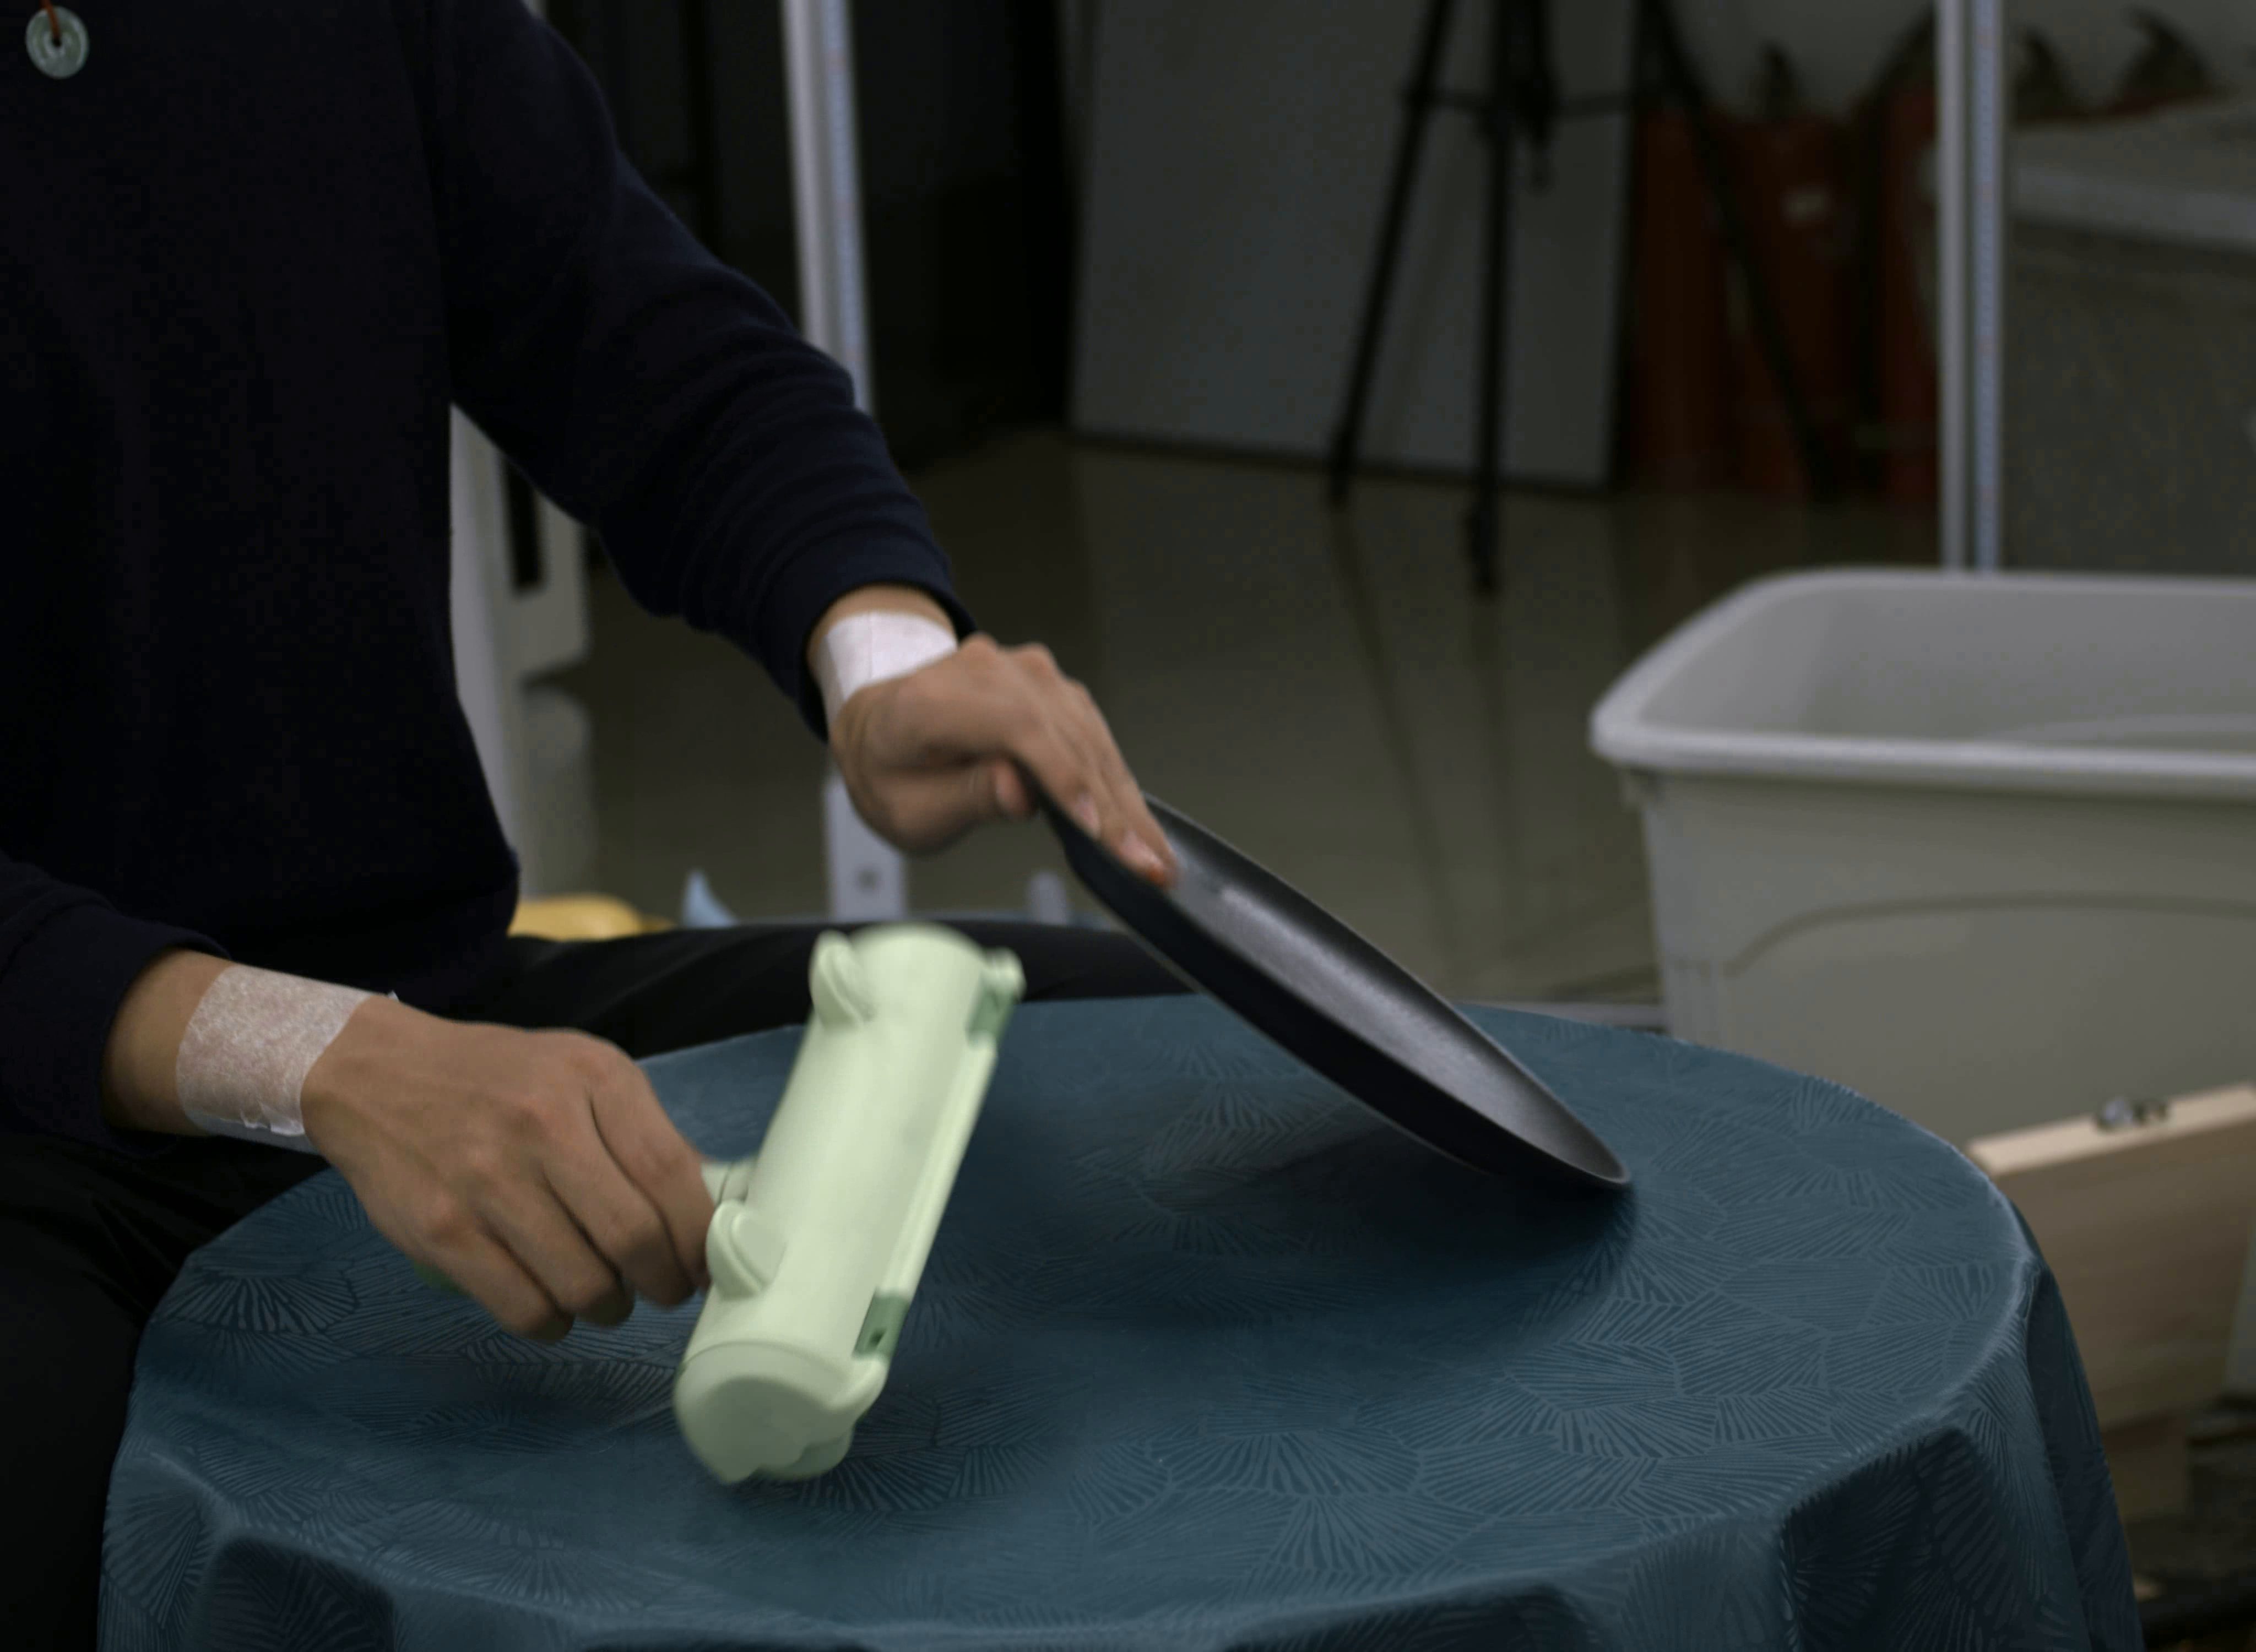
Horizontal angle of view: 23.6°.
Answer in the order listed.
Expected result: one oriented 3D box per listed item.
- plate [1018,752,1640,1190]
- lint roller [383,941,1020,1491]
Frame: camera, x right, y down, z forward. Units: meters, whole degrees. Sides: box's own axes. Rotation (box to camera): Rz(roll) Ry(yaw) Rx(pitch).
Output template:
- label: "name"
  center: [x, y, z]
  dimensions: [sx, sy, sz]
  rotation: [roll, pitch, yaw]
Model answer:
- label: "plate"
  center: [0.060, 0.054, 1.739]
  dimensions: [0.242, 0.023, 0.244]
  rotation: [34, 6, -5]
- label: "lint roller"
  center: [-0.138, 0.102, 1.582]
  dimensions: [0.182, 0.082, 0.198]
  rotation: [2, 37, 15]
